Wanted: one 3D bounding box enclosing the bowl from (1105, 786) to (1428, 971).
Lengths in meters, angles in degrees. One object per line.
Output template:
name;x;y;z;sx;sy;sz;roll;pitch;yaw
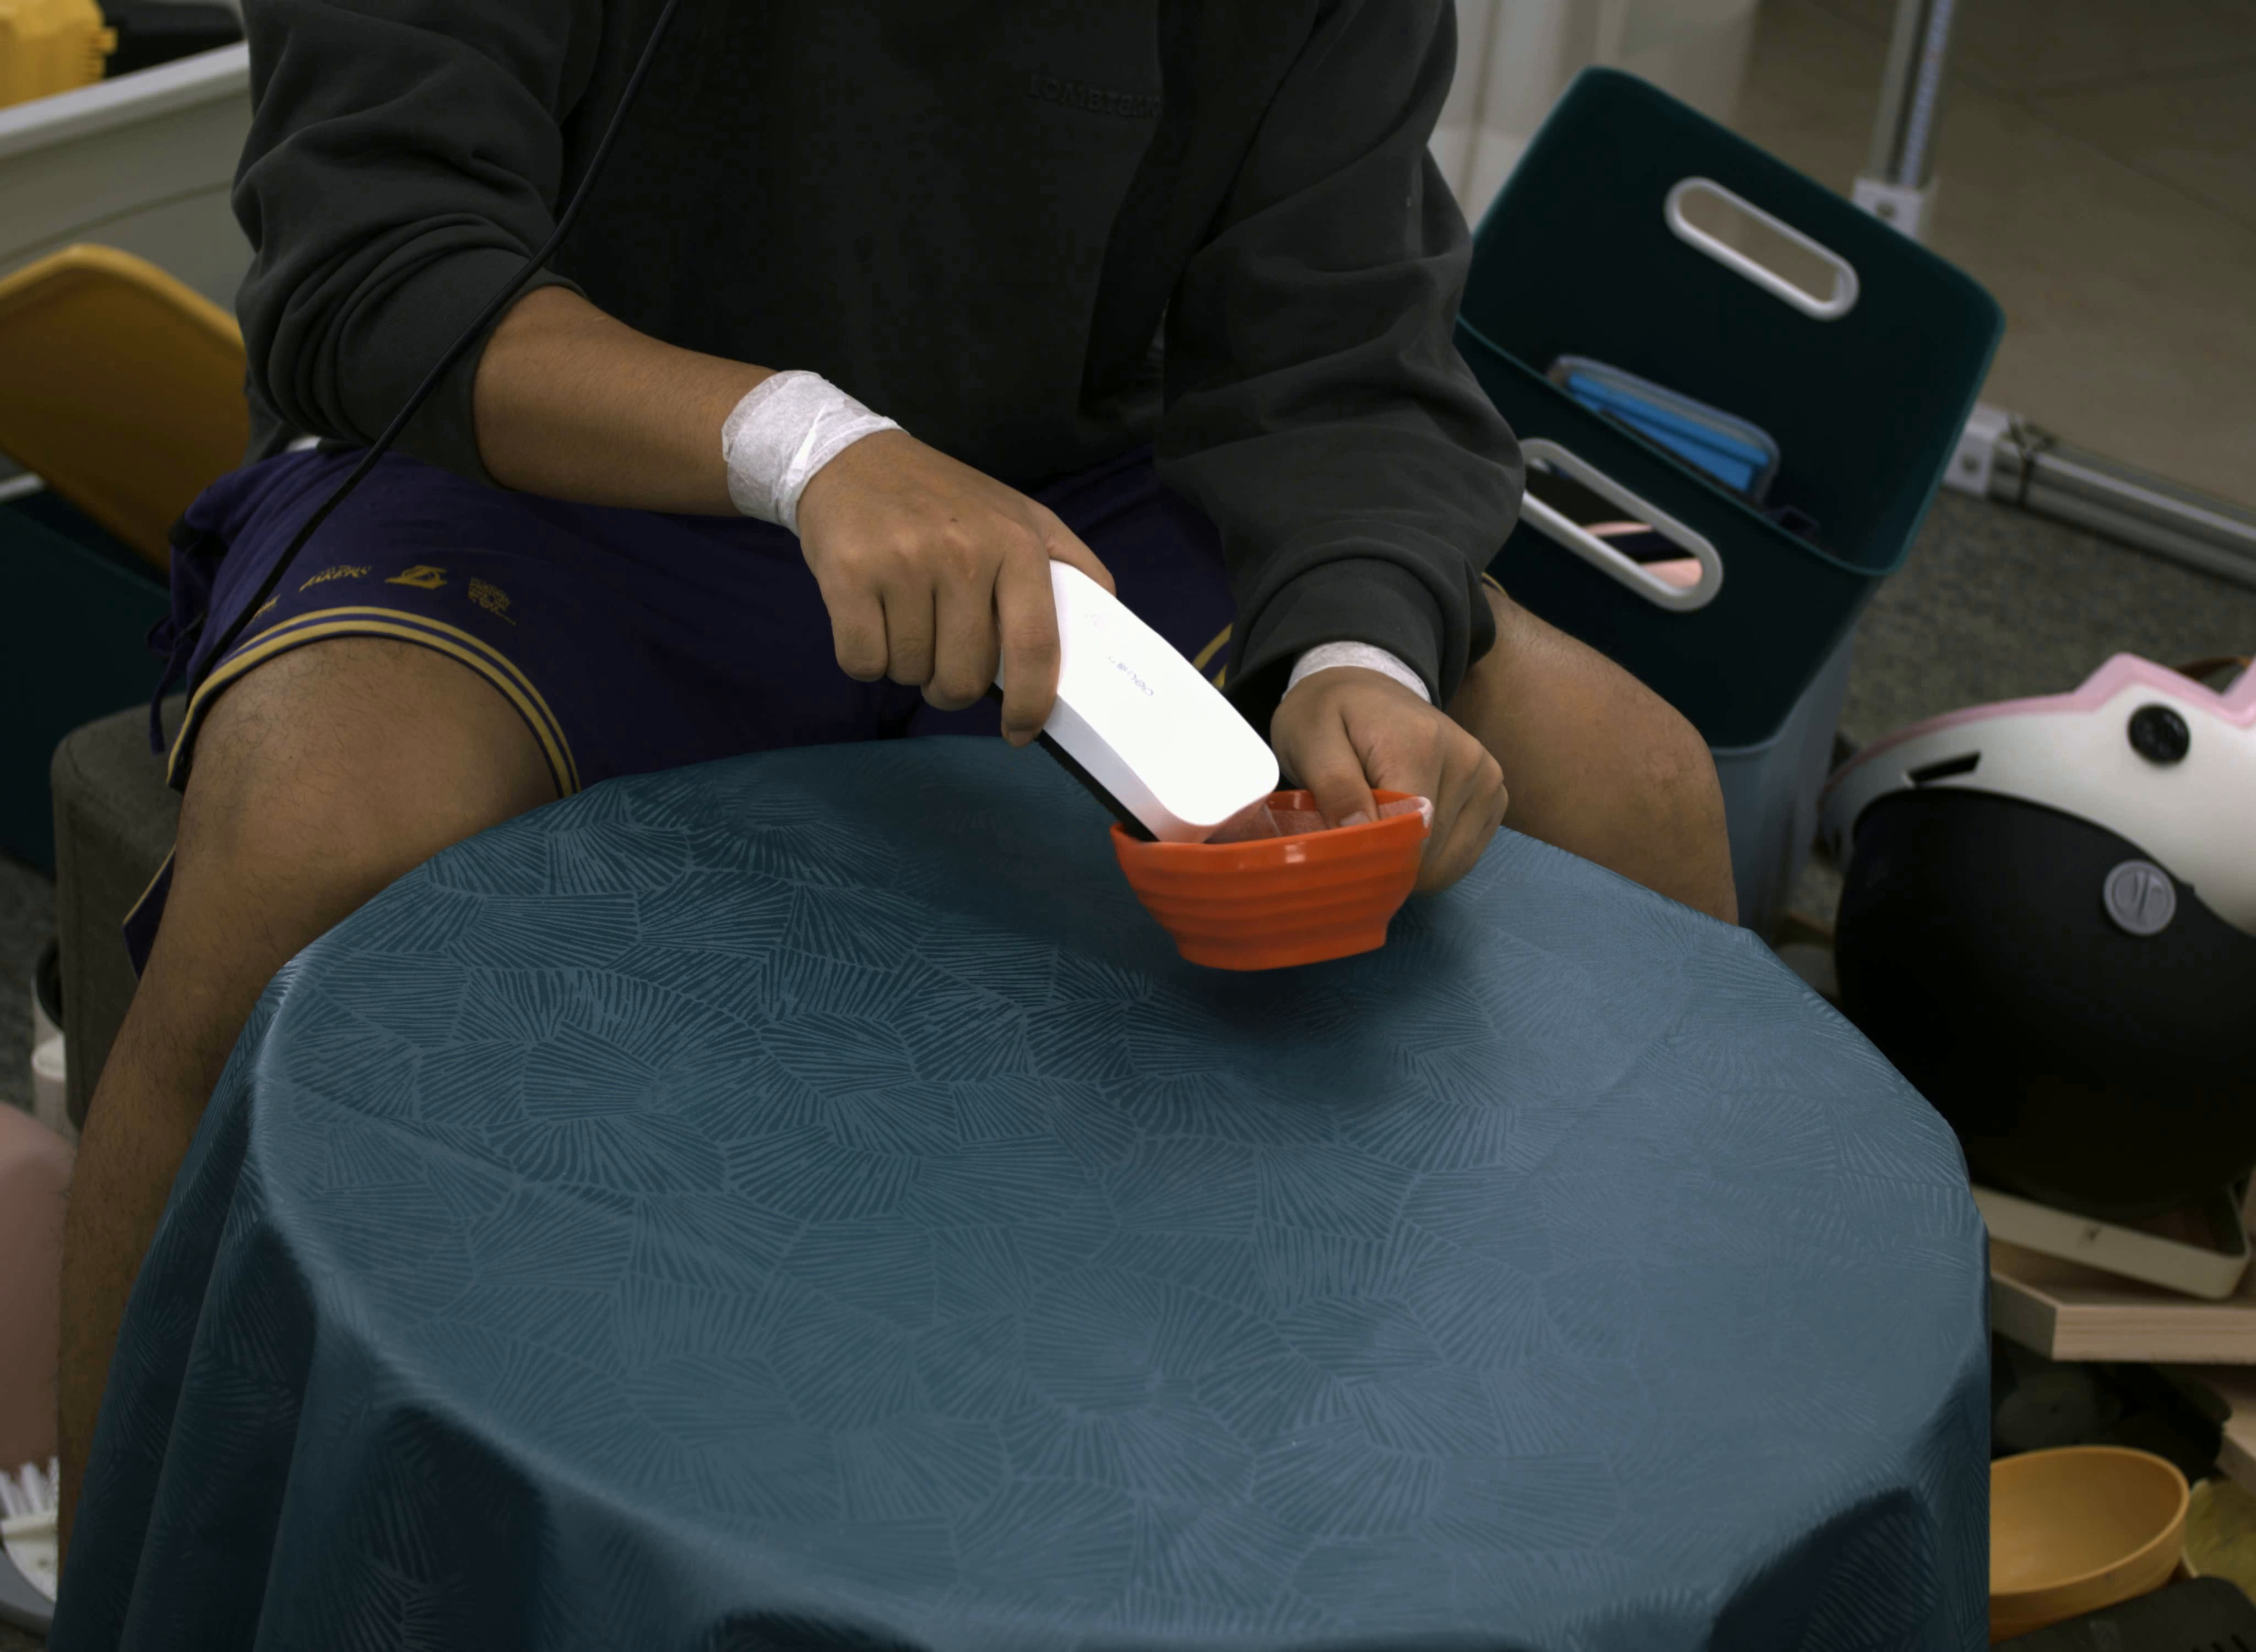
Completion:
bowl;0.052;0.020;1.908;0.118;0.051;0.119;-7;8;1

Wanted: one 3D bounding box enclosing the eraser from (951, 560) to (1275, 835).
eraser;-0.005;-0.045;1.947;0.063;0.034;0.132;-25;63;-43
